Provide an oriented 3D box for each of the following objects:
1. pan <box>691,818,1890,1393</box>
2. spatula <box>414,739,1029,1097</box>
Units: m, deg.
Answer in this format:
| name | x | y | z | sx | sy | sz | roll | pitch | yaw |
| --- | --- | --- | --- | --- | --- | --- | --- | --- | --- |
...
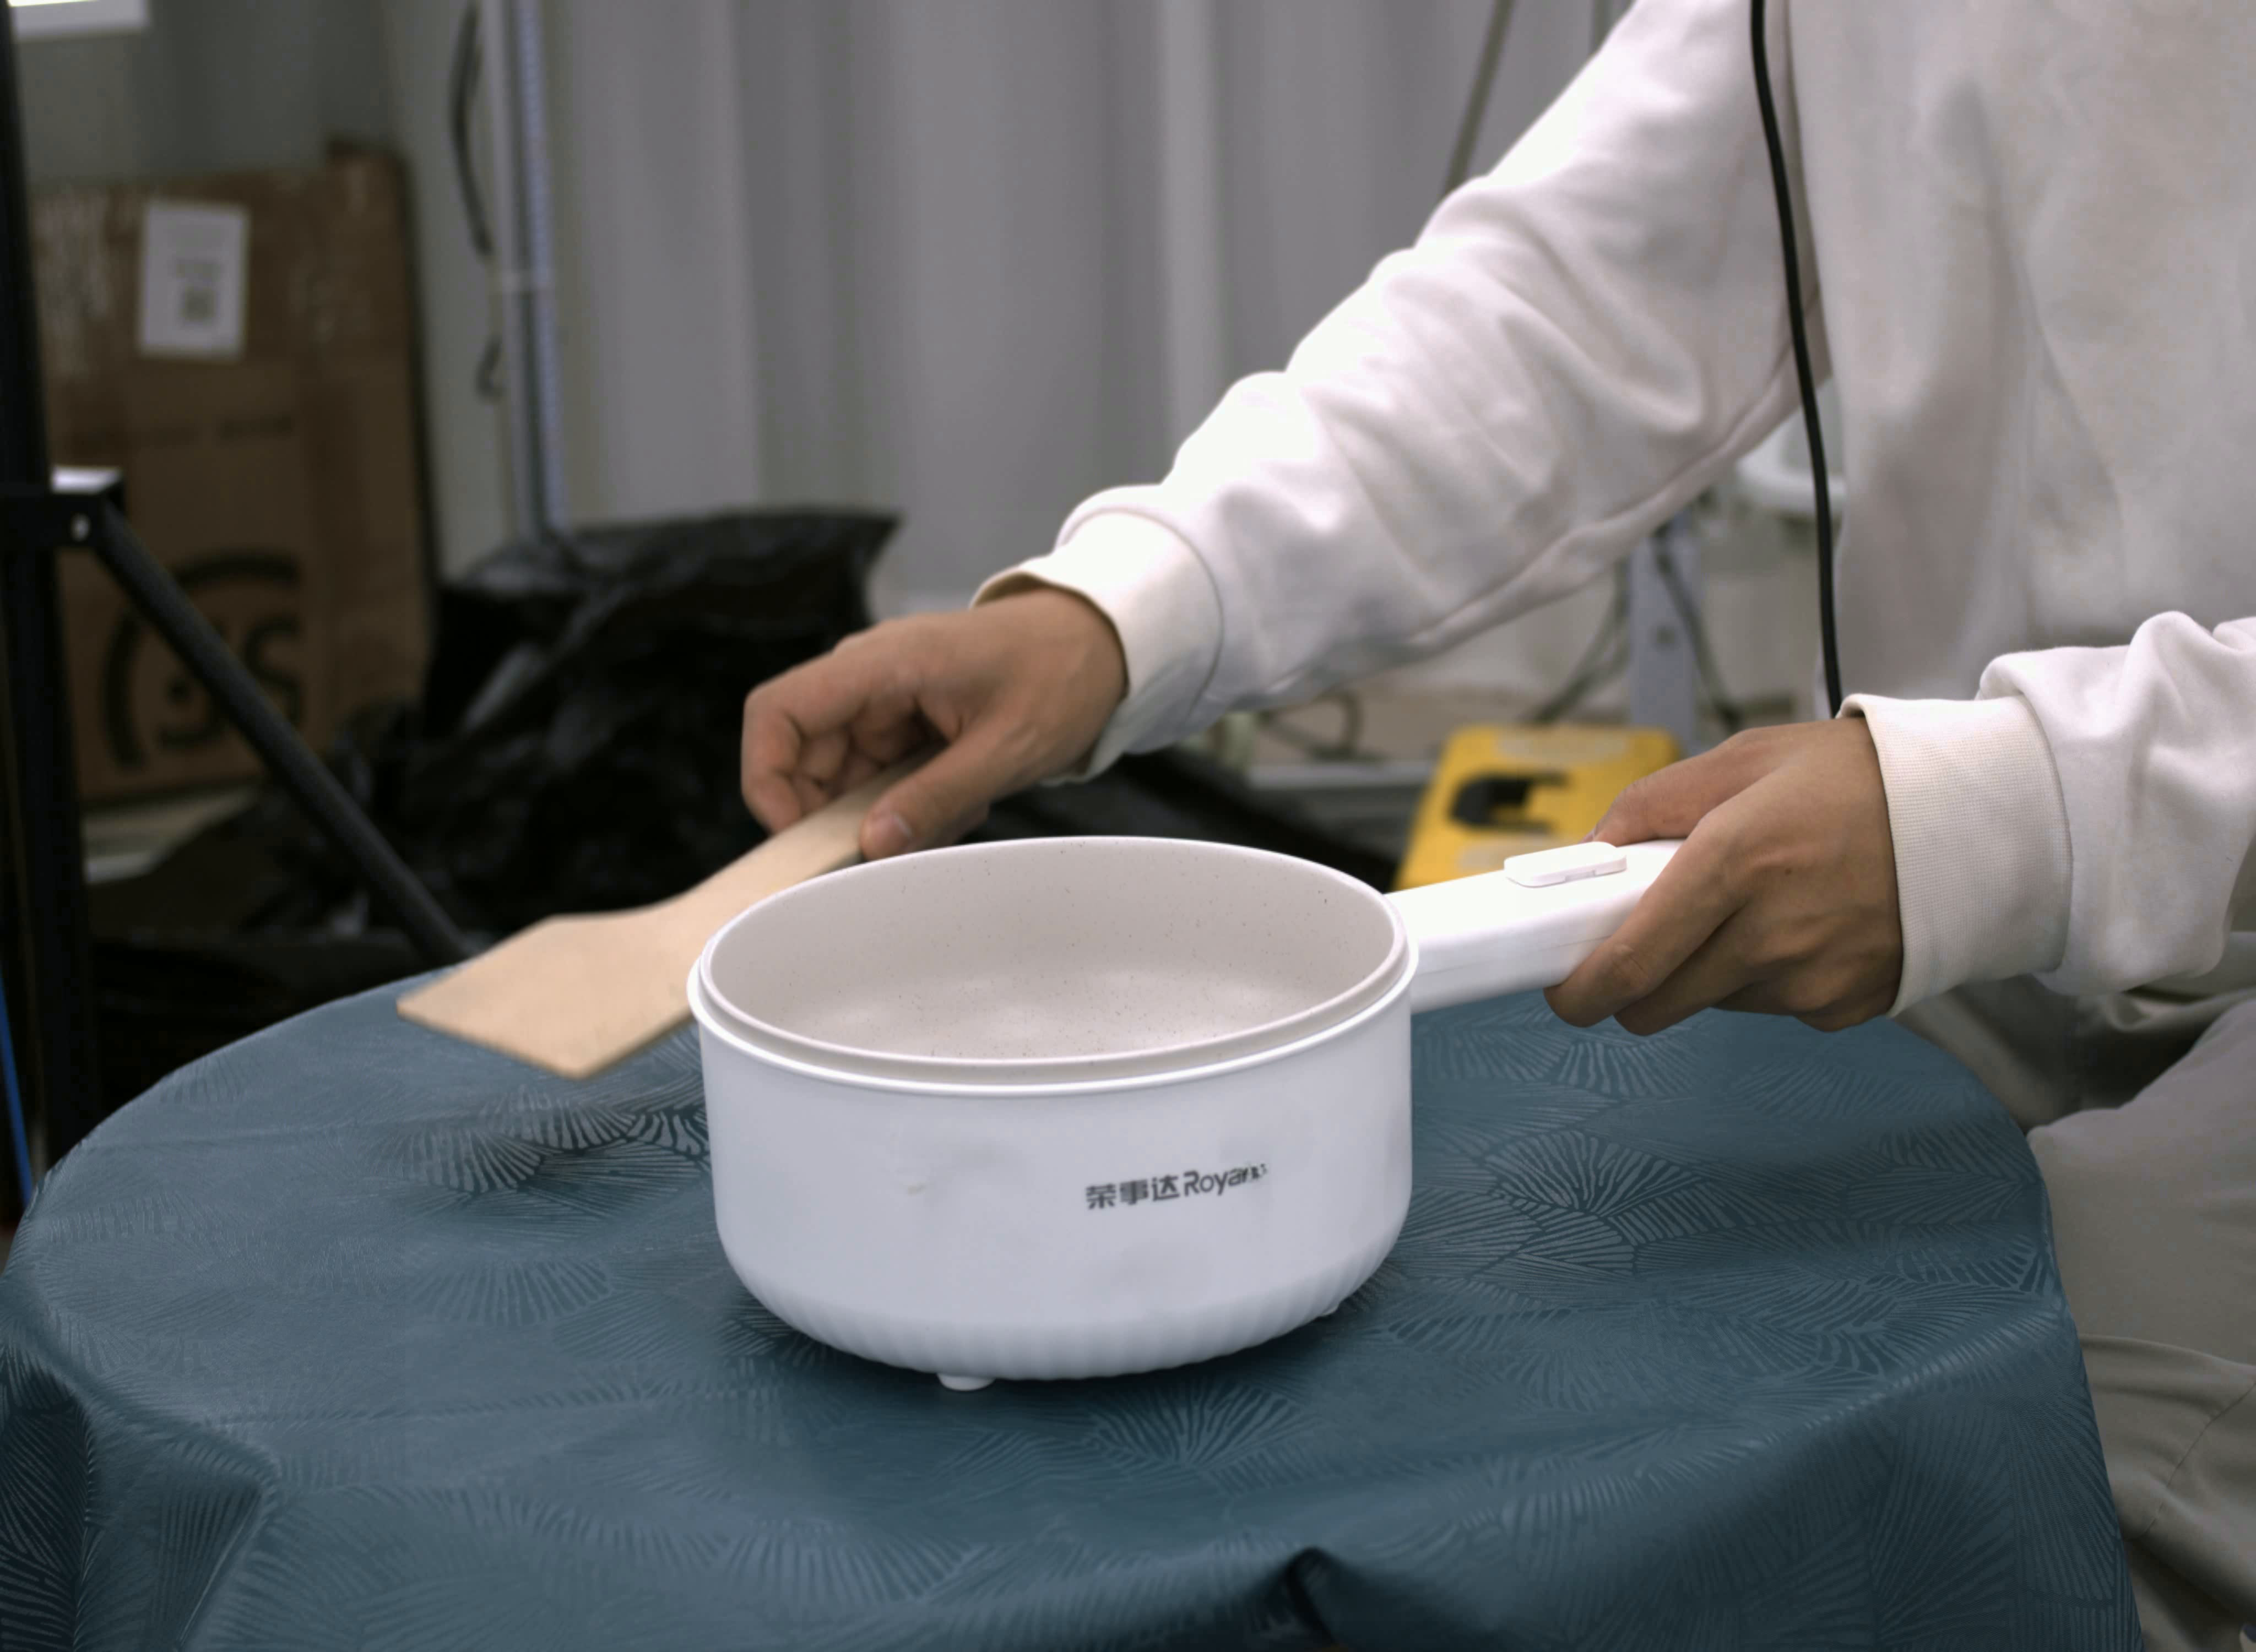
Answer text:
| name | x | y | z | sx | sy | sz | roll | pitch | yaw |
| --- | --- | --- | --- | --- | --- | --- | --- | --- | --- |
| pan | 0.052 | 0.071 | 1.494 | 0.348 | 0.102 | 0.205 | -9 | 17 | -21 |
| spatula | -0.116 | 0.023 | 1.695 | 0.073 | 0.010 | 0.288 | 16 | 28 | 26 |
